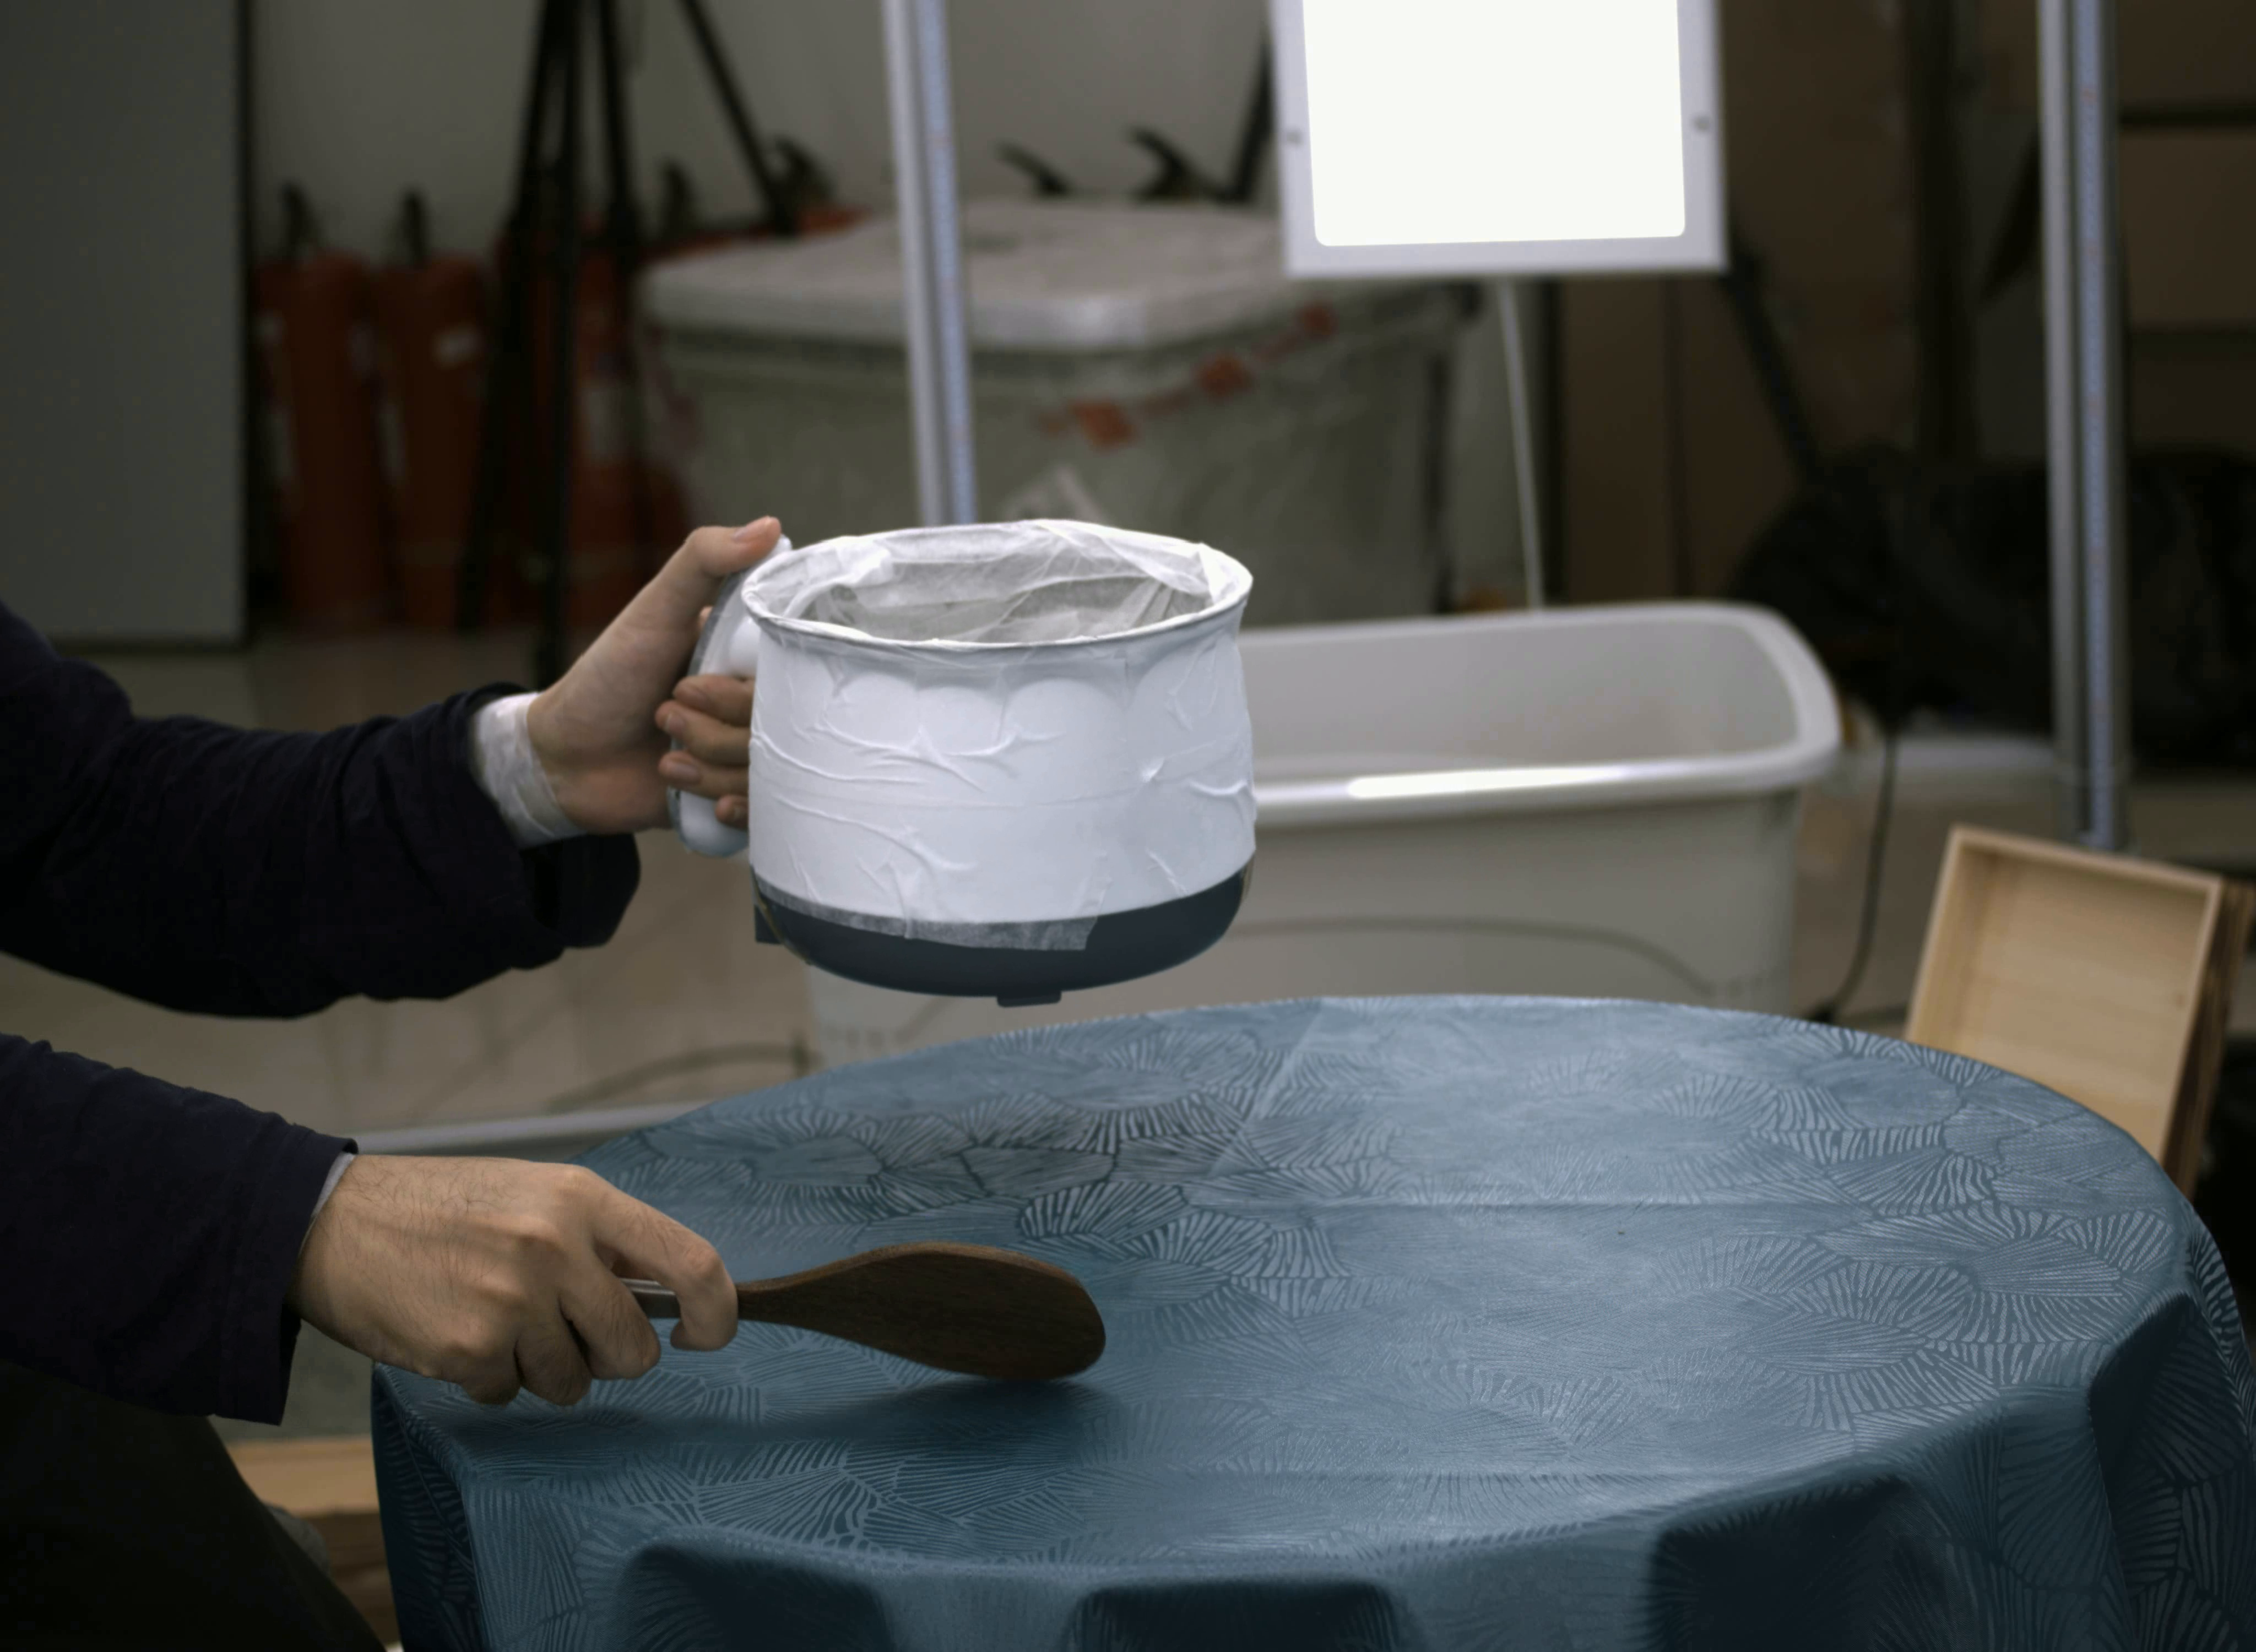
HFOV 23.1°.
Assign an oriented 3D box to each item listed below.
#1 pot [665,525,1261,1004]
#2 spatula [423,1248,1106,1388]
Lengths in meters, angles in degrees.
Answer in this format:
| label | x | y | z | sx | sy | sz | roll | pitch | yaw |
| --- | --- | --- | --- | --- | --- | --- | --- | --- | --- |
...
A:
| label | x | y | z | sx | sy | sz | roll | pitch | yaw |
| --- | --- | --- | --- | --- | --- | --- | --- | --- | --- |
| pot | -0.067 | -0.028 | 1.930 | 0.238 | 0.137 | 0.174 | 11 | 18 | 35 |
| spatula | -0.113 | 0.153 | 1.703 | 0.217 | 0.072 | 0.009 | 0 | 50 | 11 |
